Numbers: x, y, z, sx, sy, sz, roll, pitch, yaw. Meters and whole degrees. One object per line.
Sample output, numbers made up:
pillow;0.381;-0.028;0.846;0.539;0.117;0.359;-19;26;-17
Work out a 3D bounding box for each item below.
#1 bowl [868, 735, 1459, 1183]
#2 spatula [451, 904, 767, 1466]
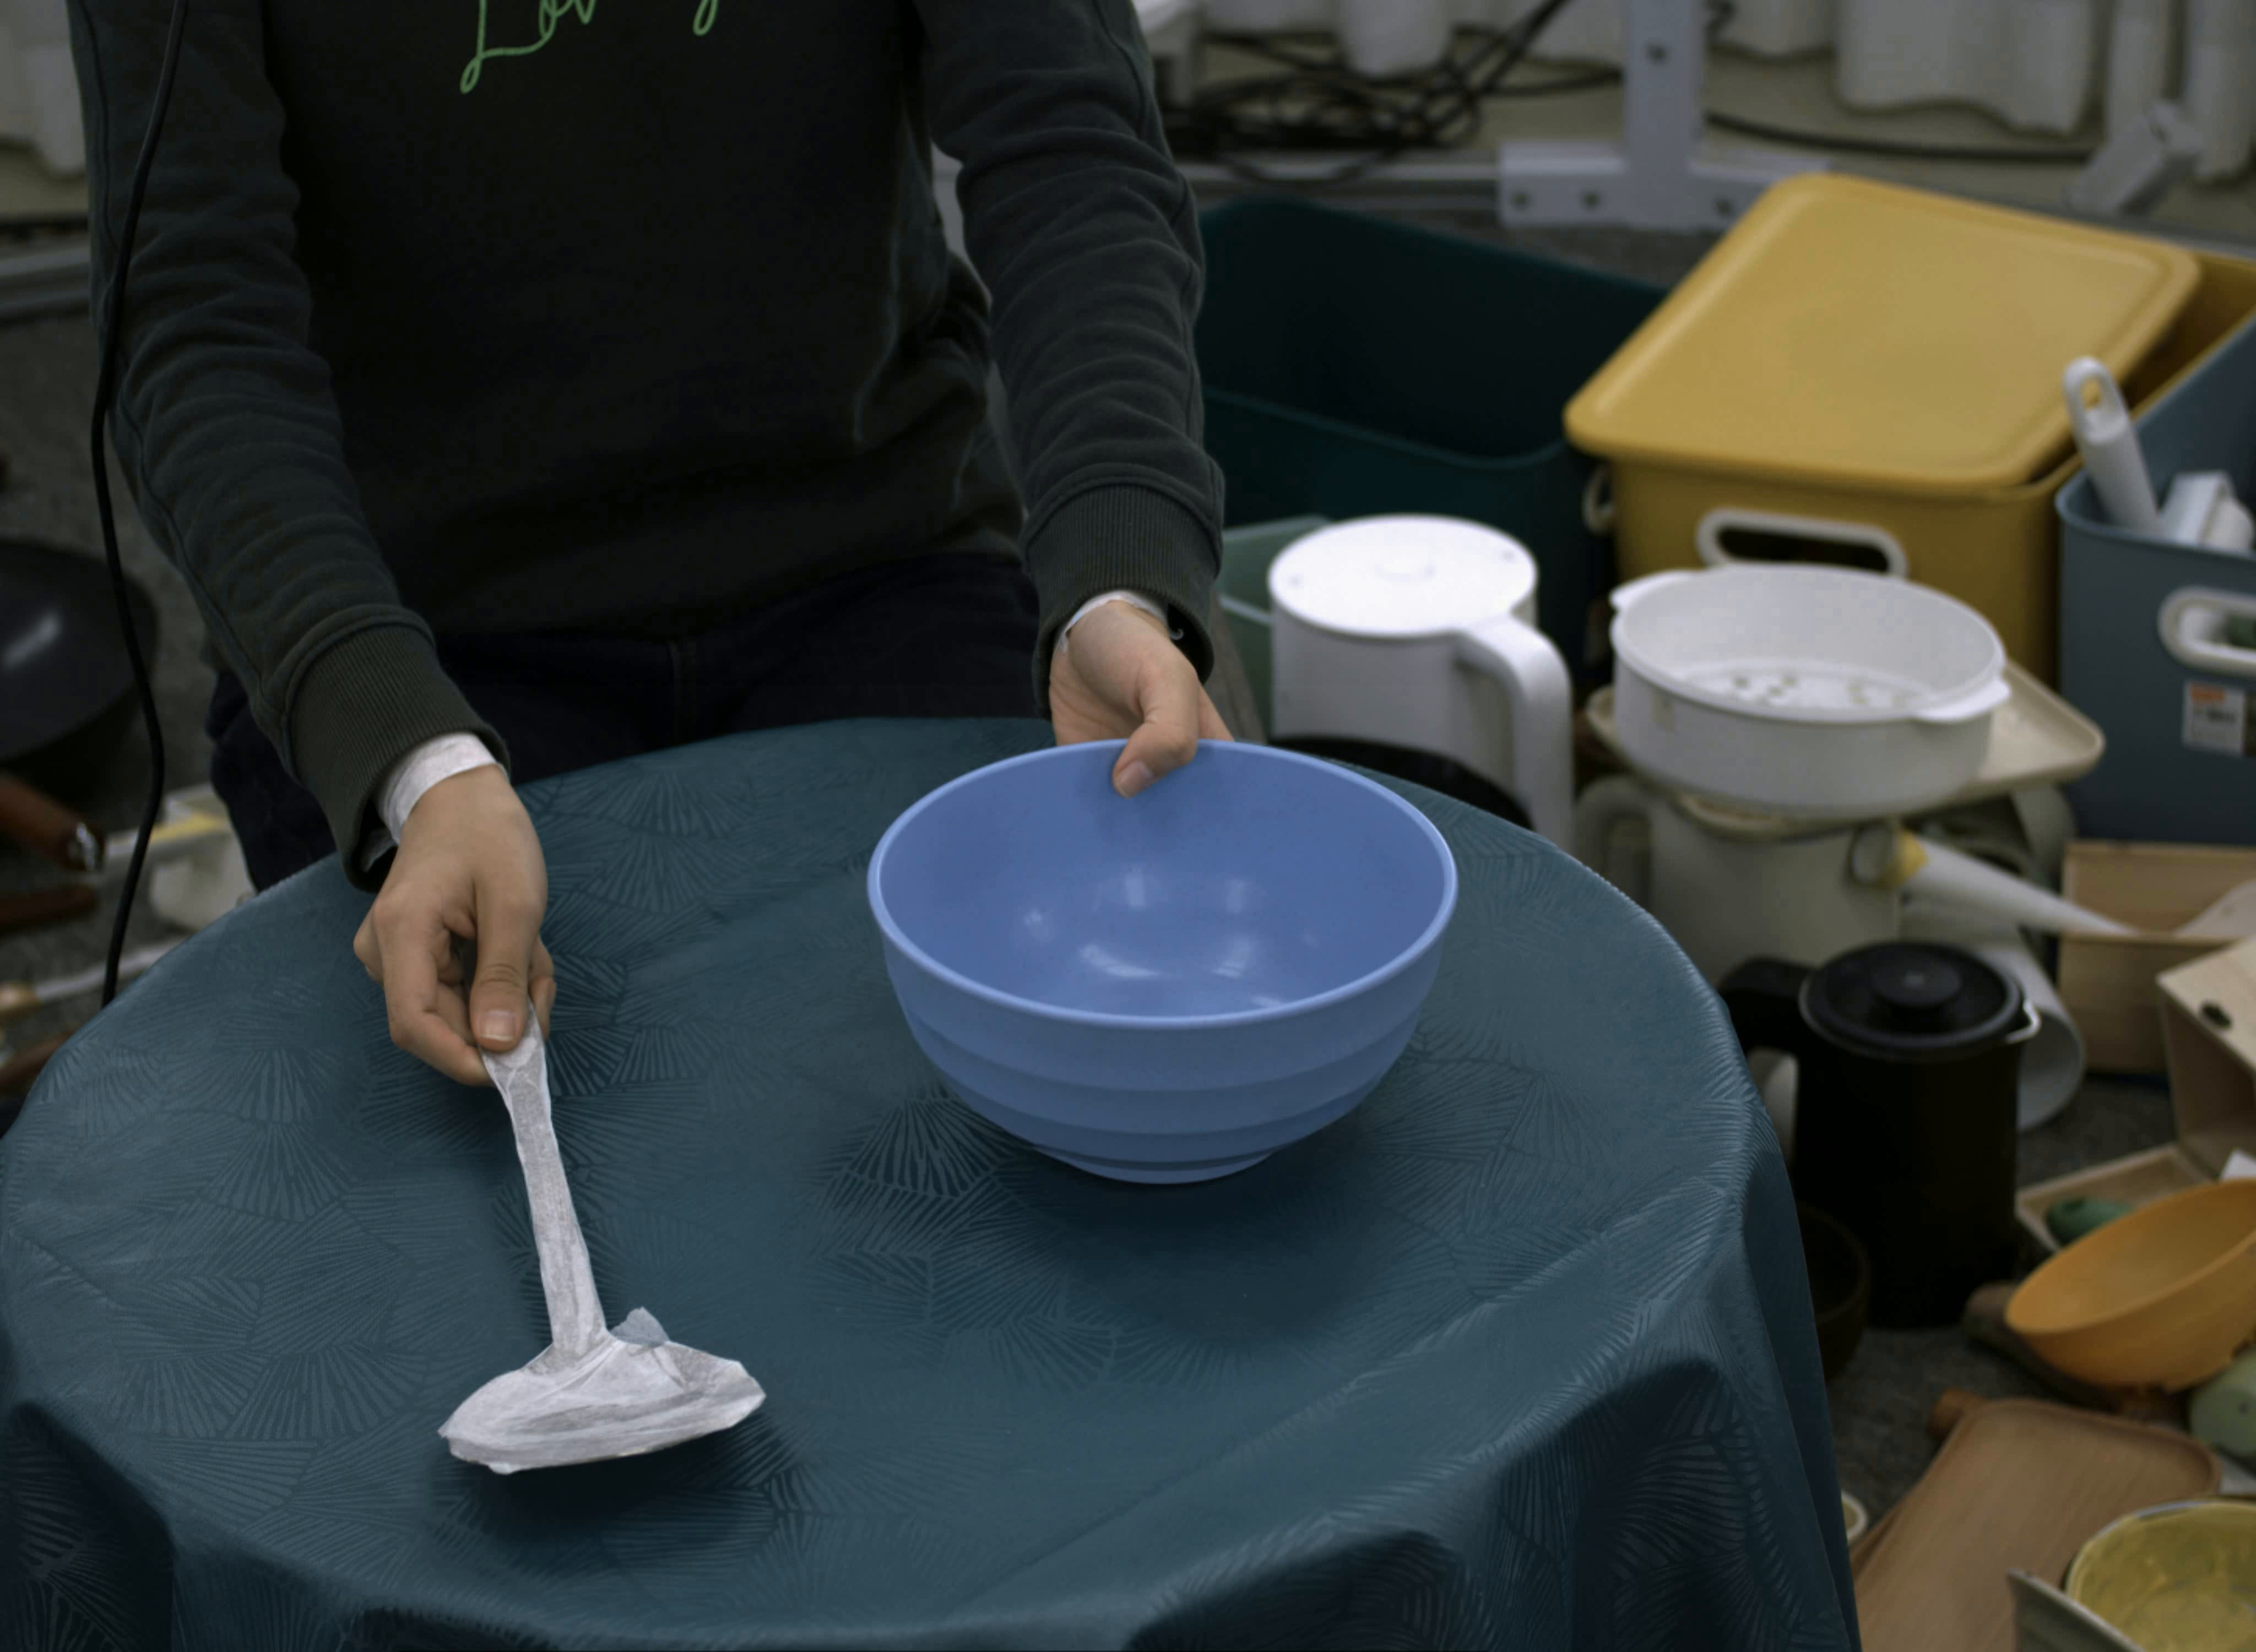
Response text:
bowl;0.012;0.055;1.879;0.195;0.094;0.199;0;28;1
spatula;-0.188;0.108;1.842;0.098;0.044;0.370;-10;33;-7
